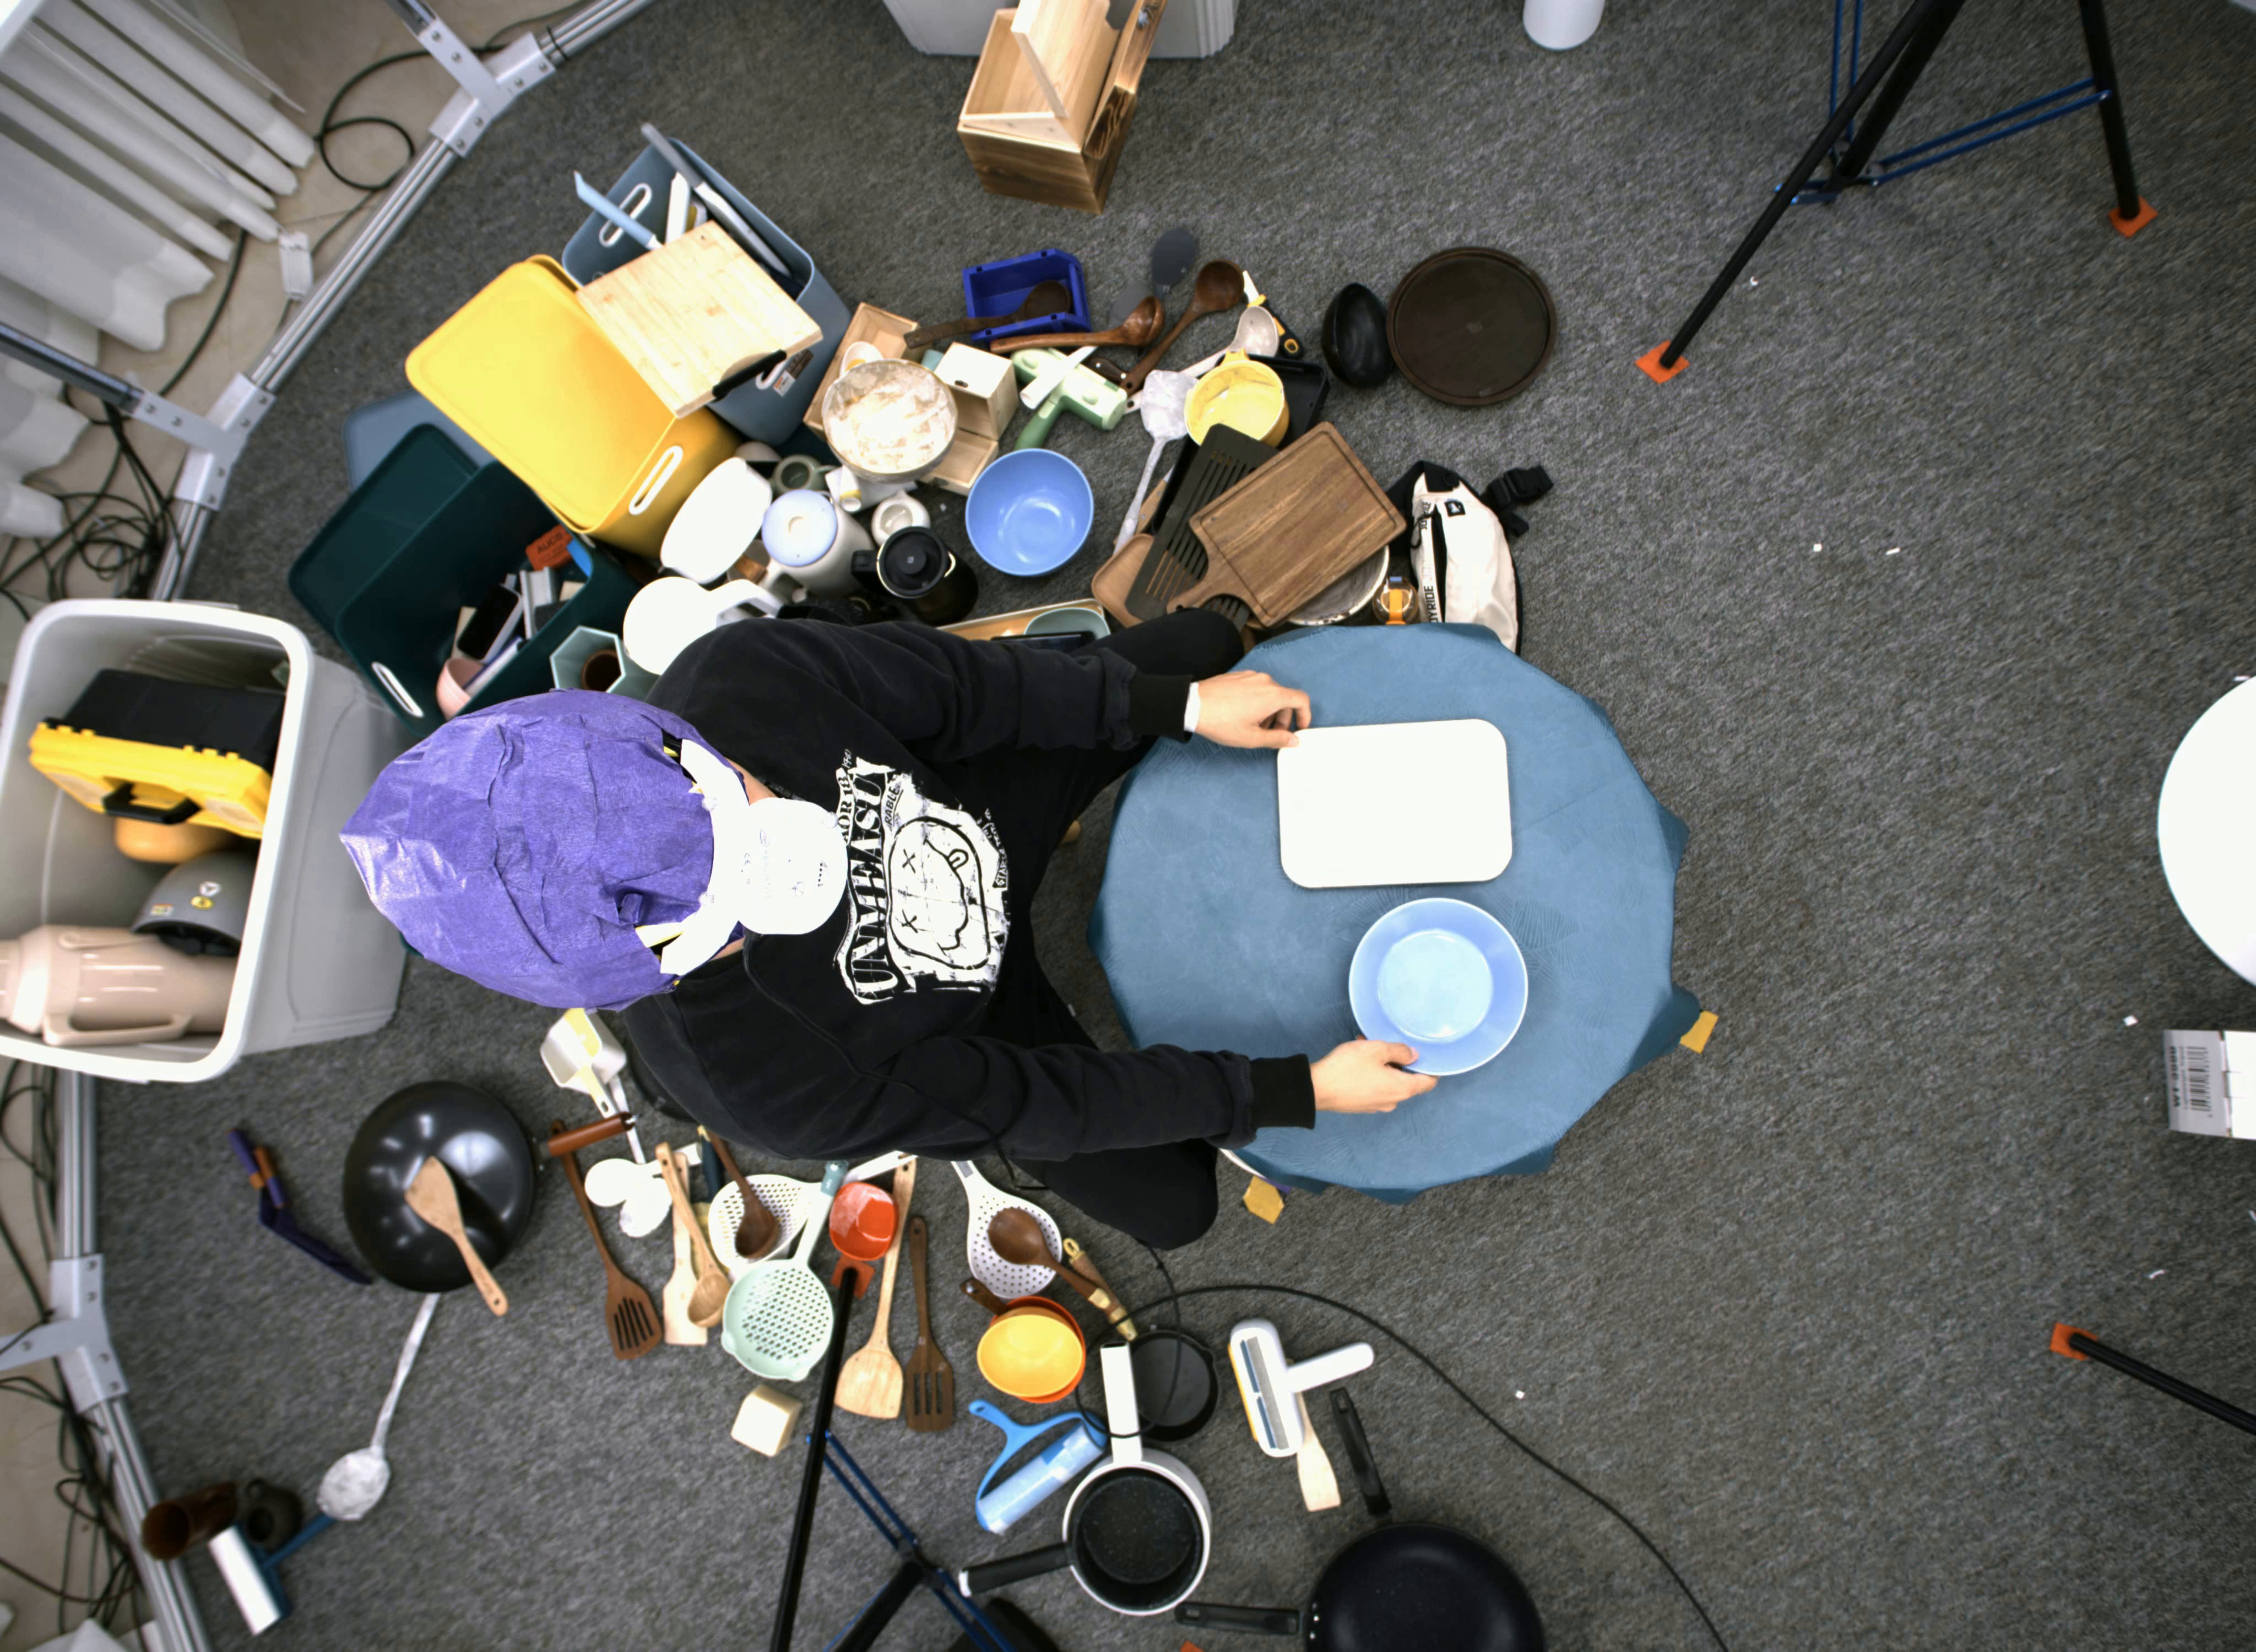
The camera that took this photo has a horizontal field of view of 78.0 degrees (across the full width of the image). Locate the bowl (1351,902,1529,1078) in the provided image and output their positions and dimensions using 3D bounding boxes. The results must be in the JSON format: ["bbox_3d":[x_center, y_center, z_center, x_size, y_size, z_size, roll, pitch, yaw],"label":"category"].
[{"bbox_3d":[0.318,0.166,1.414,0.177,0.070,0.175,-1,85,10],"label":"bowl"}]

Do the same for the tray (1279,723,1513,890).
[{"bbox_3d":[0.282,-0.021,1.460,0.241,0.017,0.170,-3,85,10],"label":"tray"}]
